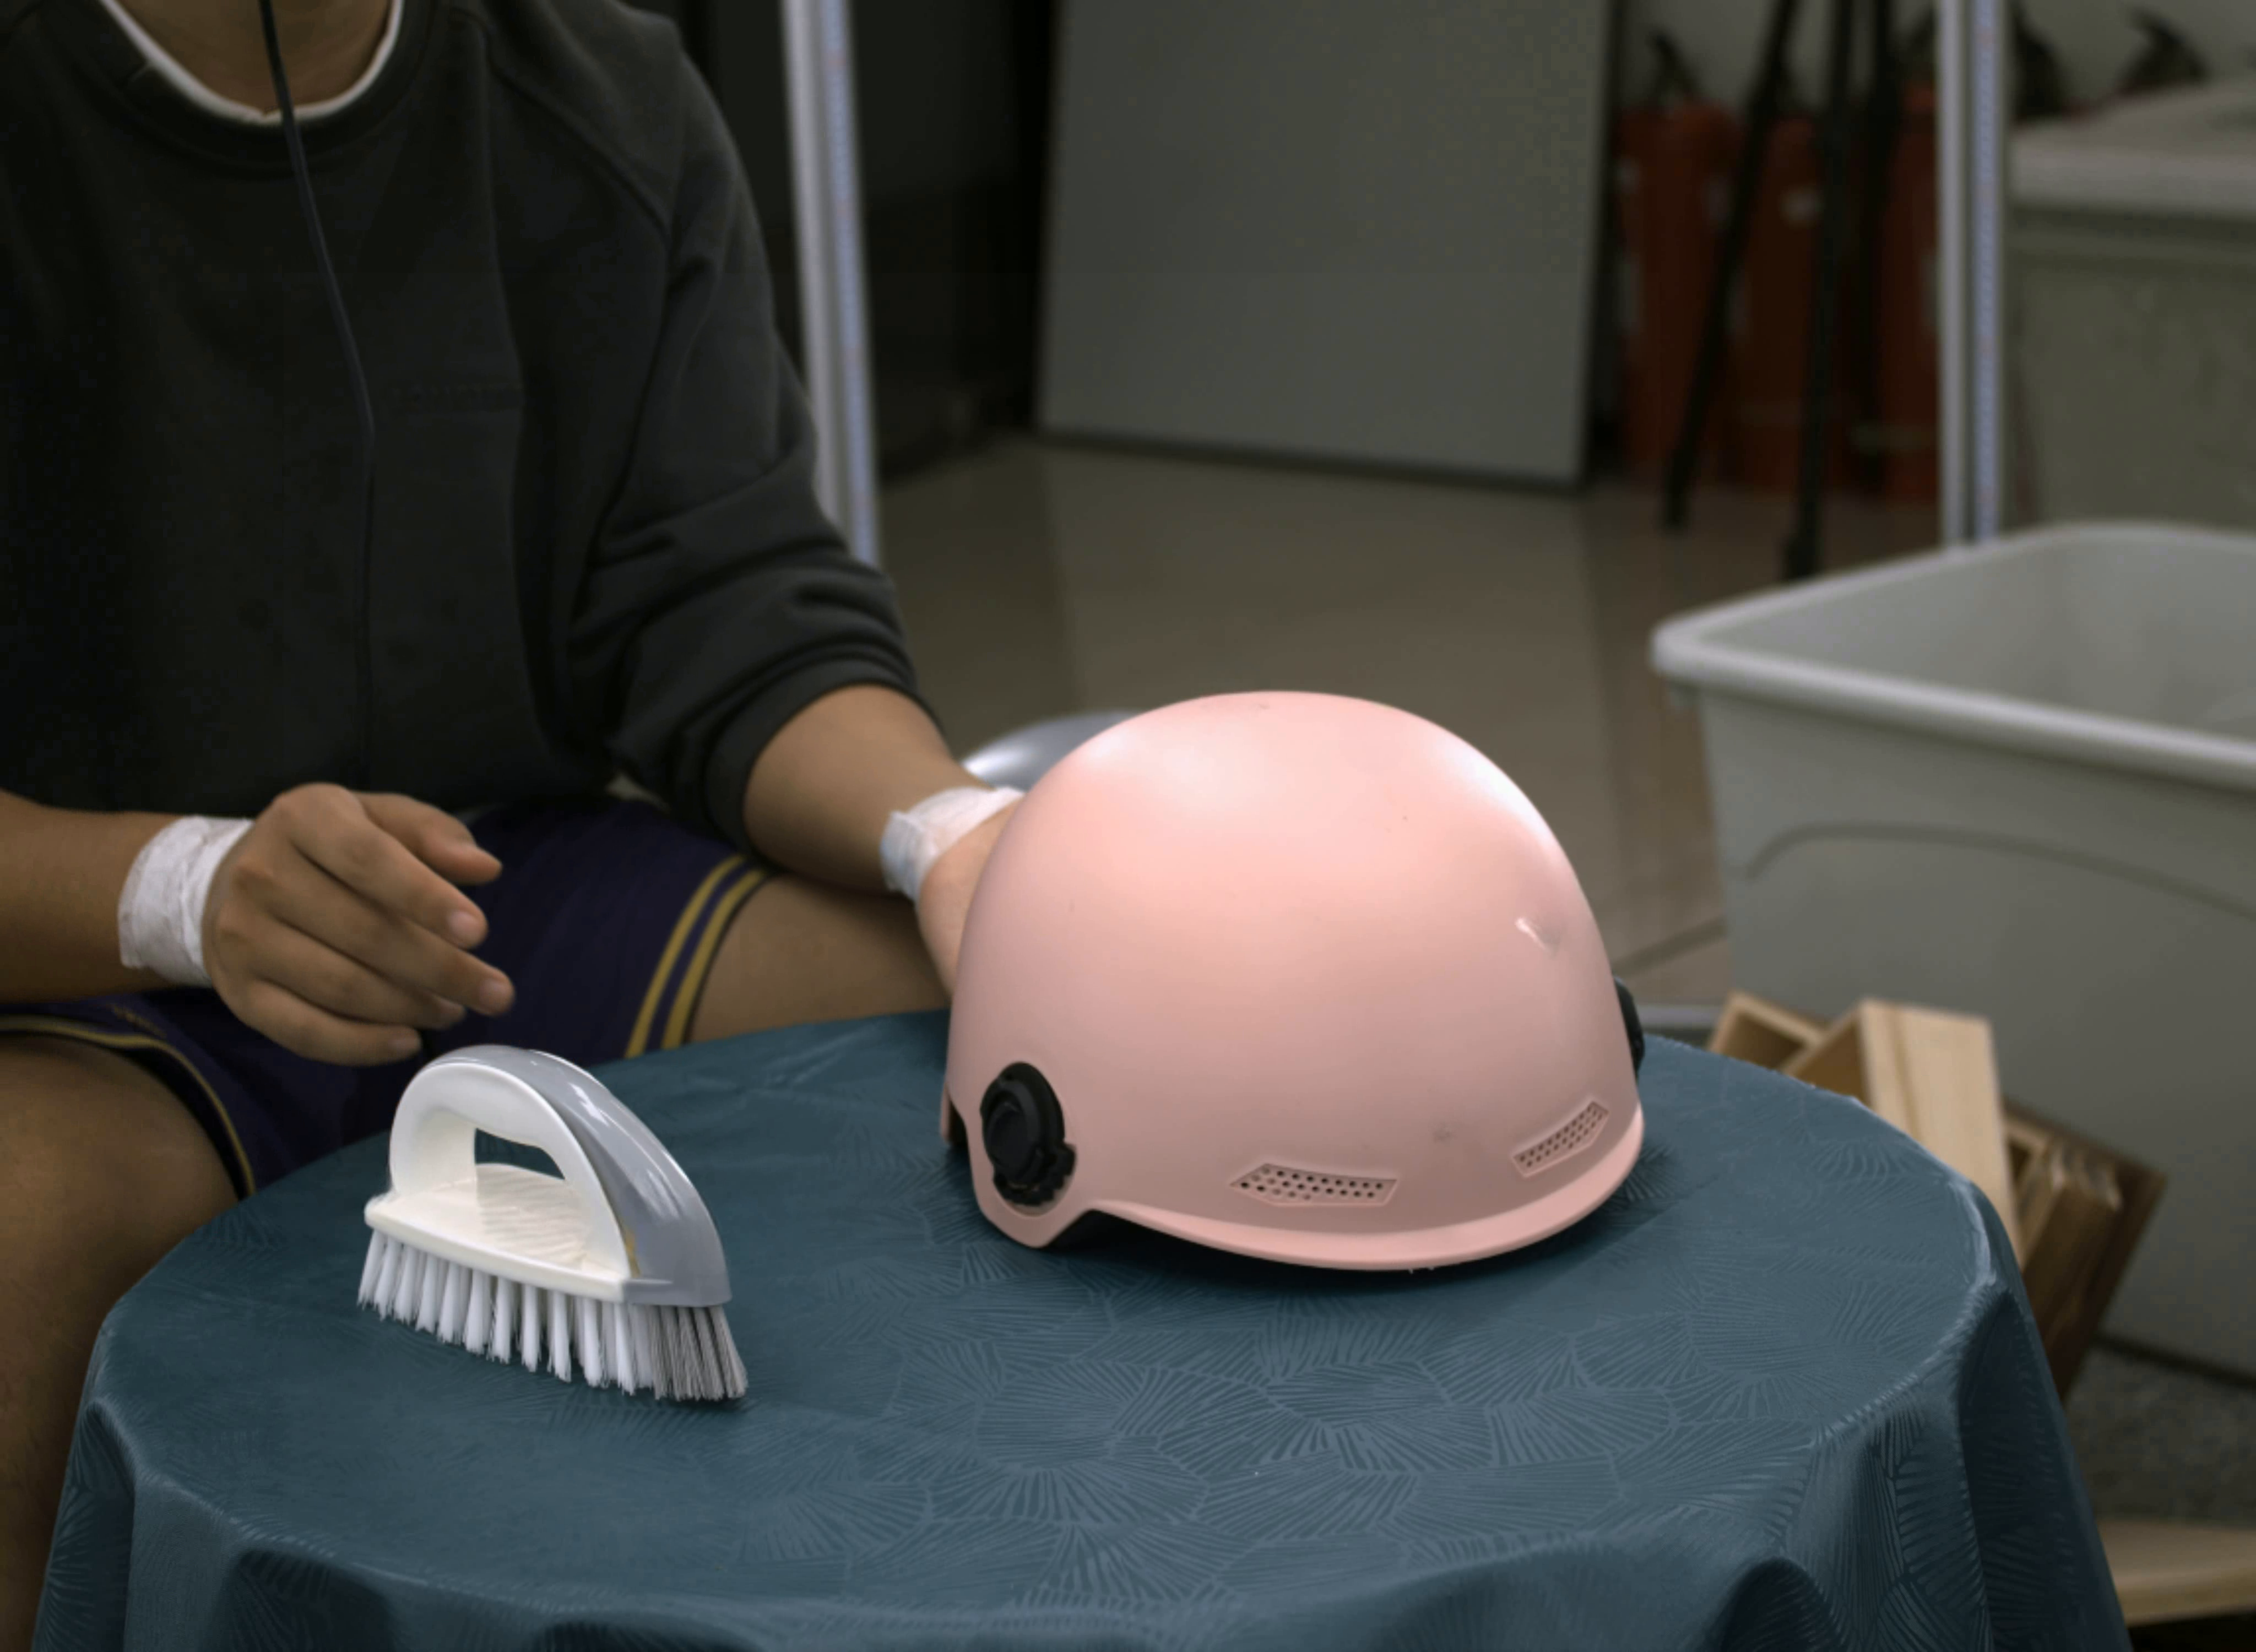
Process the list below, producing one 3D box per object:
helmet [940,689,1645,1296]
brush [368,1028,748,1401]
[{"bbox_3d":[0.053,0.042,1.758,0.229,0.160,0.268,-9,18,-21],"label":"helmet"},{"bbox_3d":[-0.170,0.115,1.650,0.060,0.095,0.177,-14,19,-36],"label":"brush"}]
